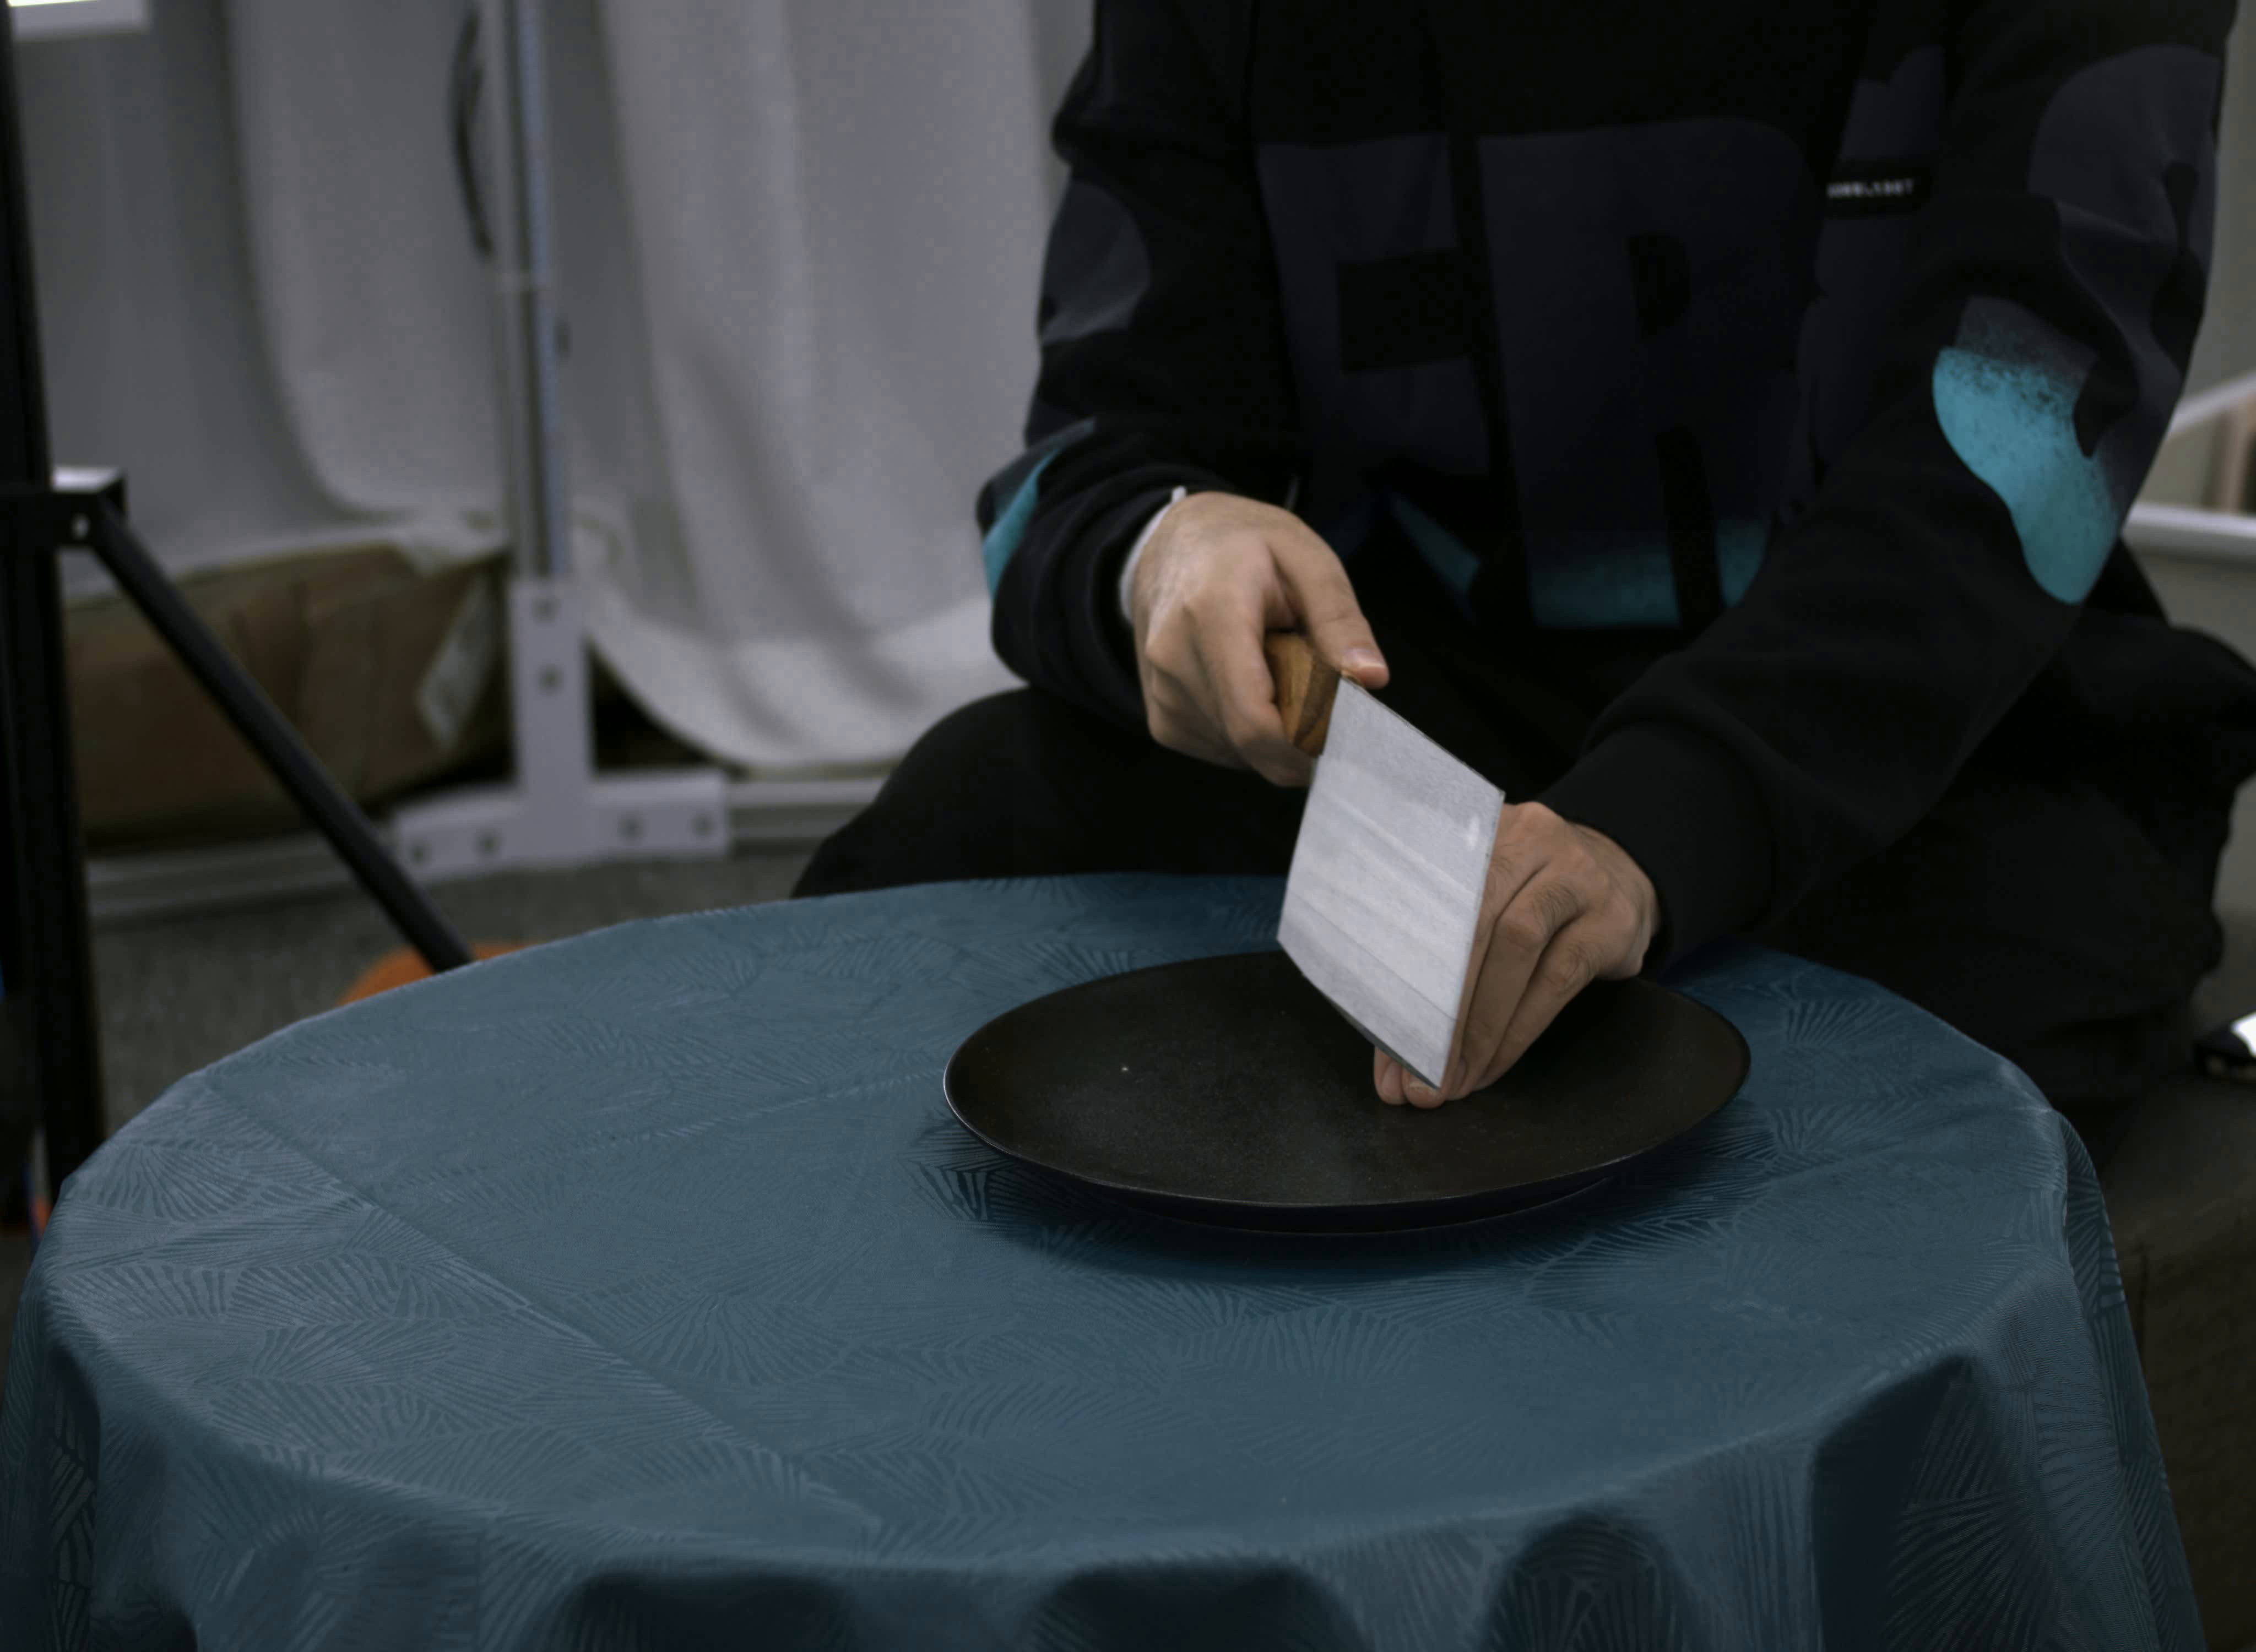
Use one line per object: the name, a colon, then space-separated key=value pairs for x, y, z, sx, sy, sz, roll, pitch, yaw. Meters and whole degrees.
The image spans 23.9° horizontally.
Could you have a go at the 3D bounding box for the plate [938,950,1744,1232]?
plate: x=0.064 y=0.082 z=1.596 sx=0.243 sy=0.023 sz=0.245 roll=-3 pitch=16 yaw=-1

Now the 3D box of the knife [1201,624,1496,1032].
knife: x=0.063 y=0.000 z=1.645 sx=0.020 sy=0.093 sz=0.309 roll=9 pitch=9 yaw=-14
